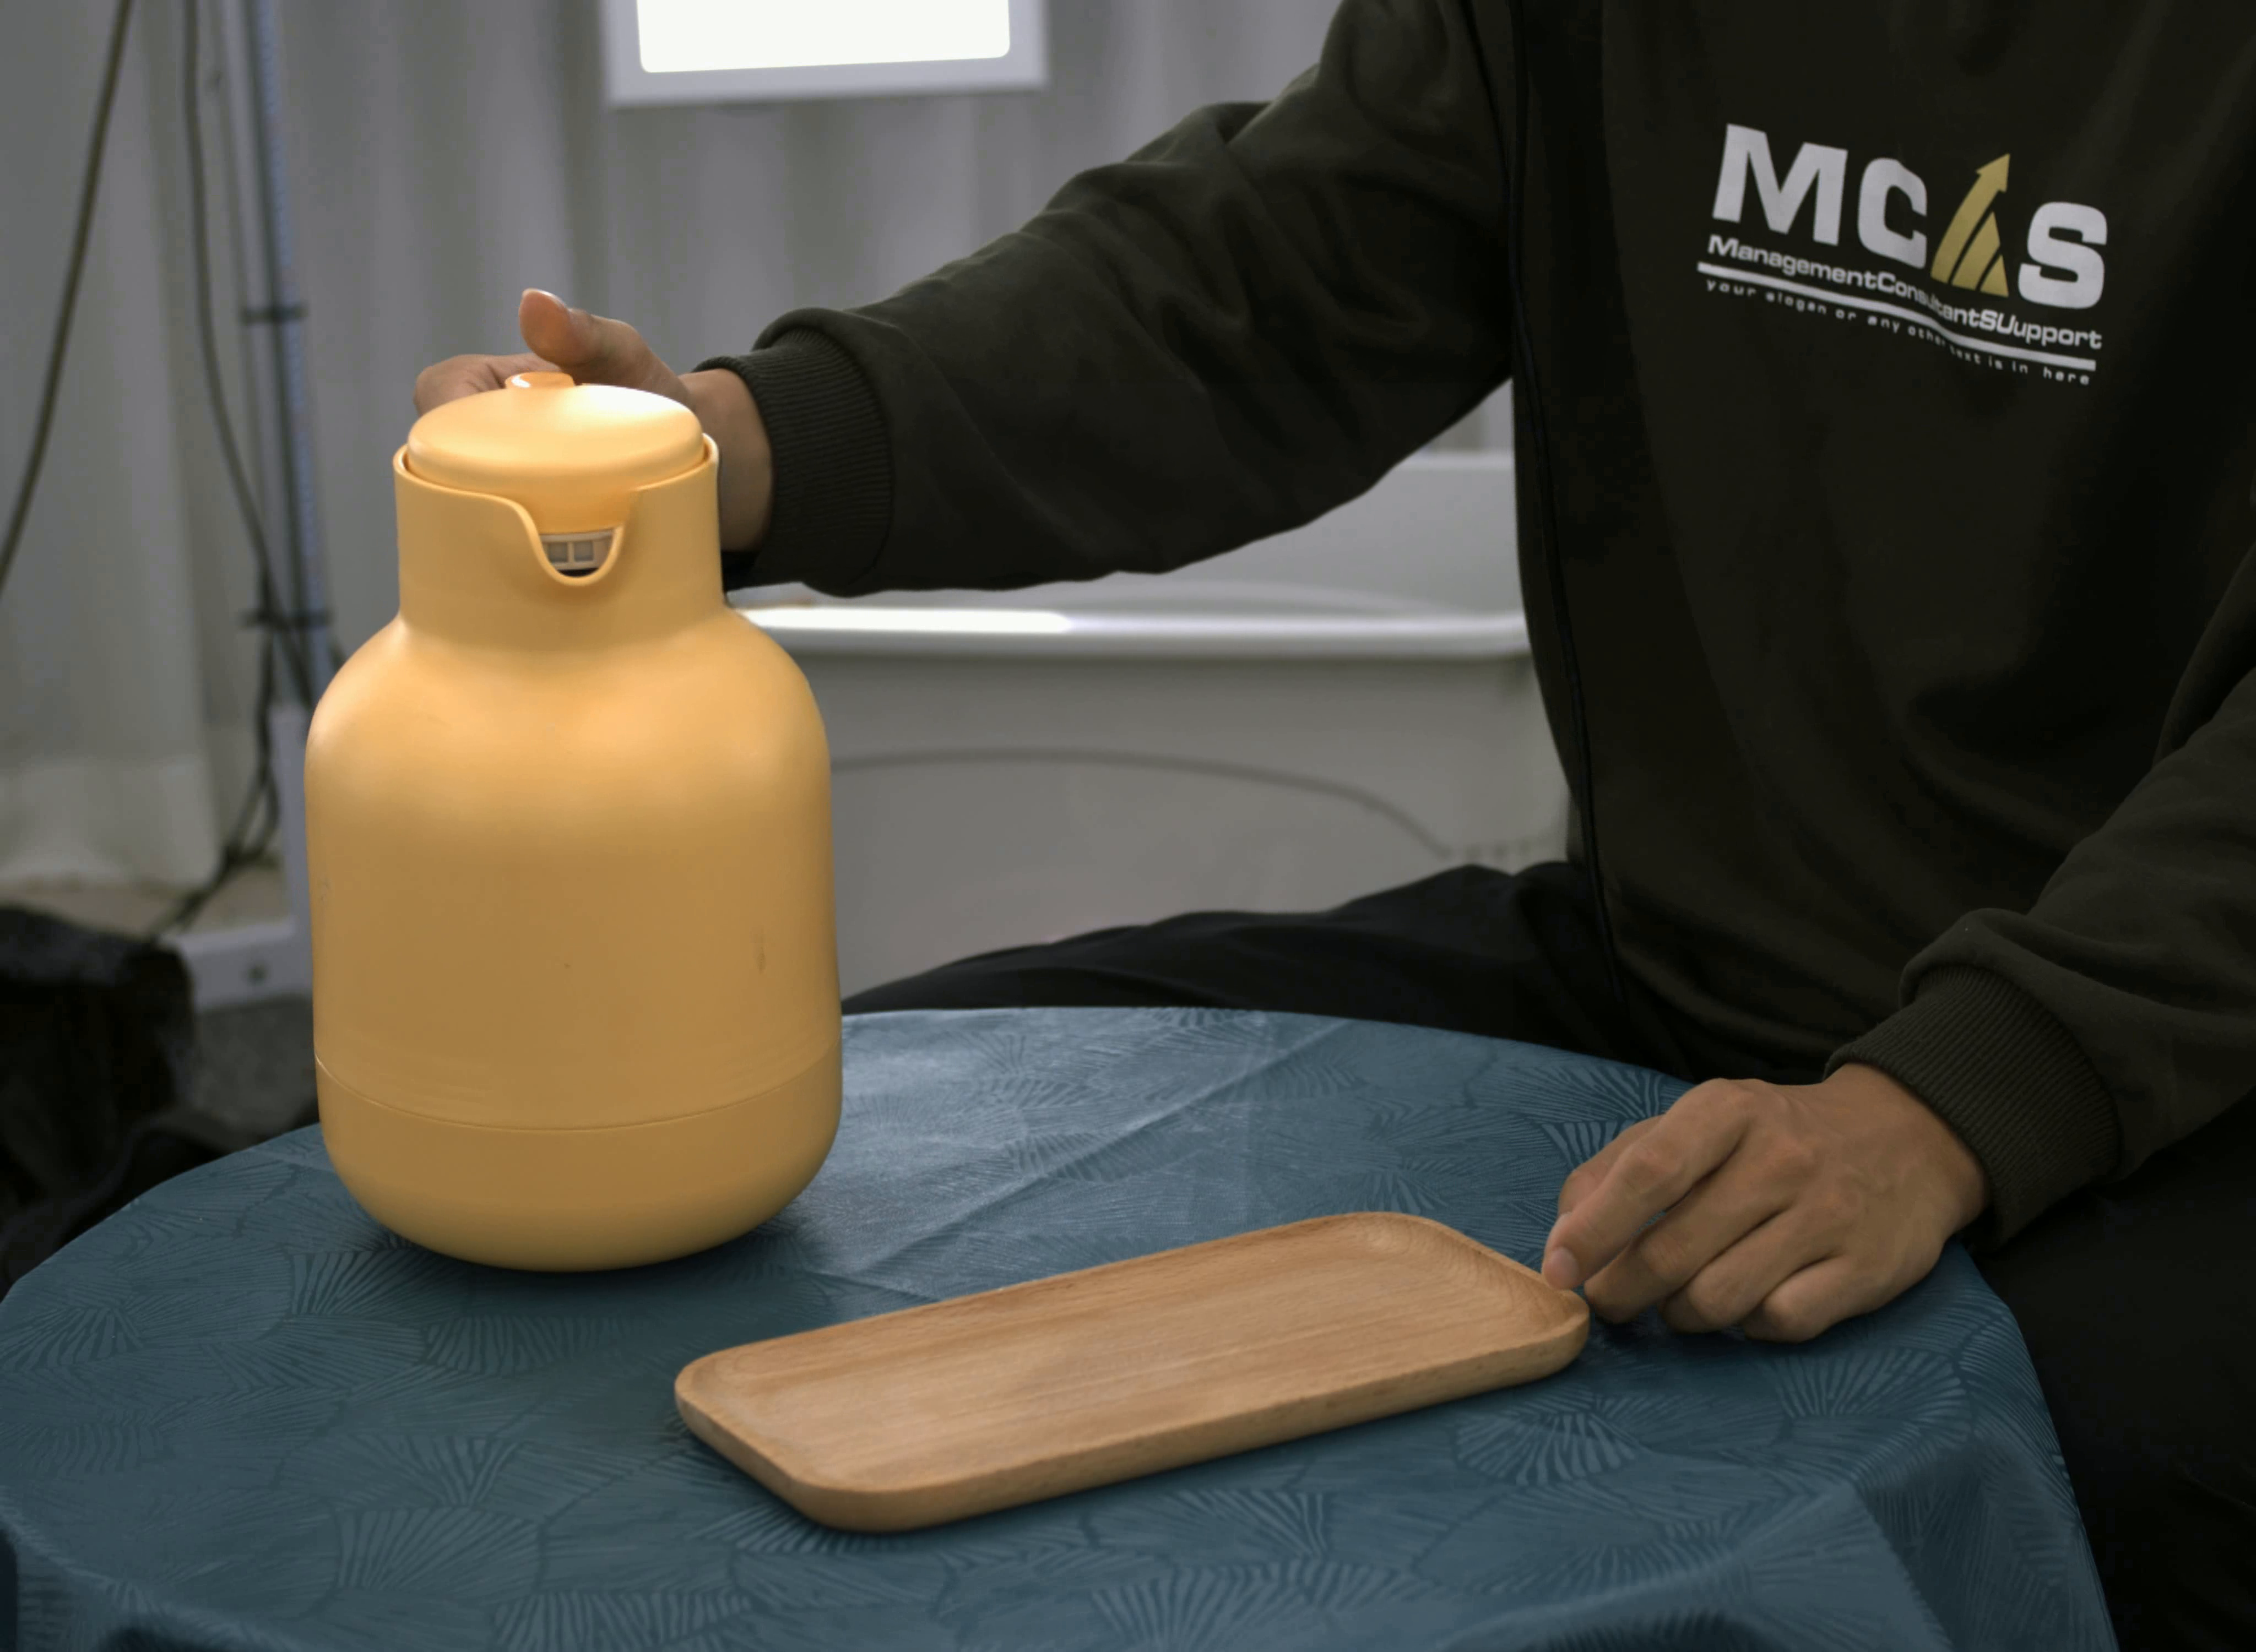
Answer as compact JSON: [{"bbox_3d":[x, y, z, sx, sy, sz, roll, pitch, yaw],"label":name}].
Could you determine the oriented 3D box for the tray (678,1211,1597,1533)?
[{"bbox_3d":[0.004,0.153,1.544,0.249,0.023,0.131,-9,19,-26],"label":"tray"}]

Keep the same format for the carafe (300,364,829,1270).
[{"bbox_3d":[-0.174,-0.011,1.697,0.163,0.259,0.204,0,19,-8],"label":"carafe"}]
